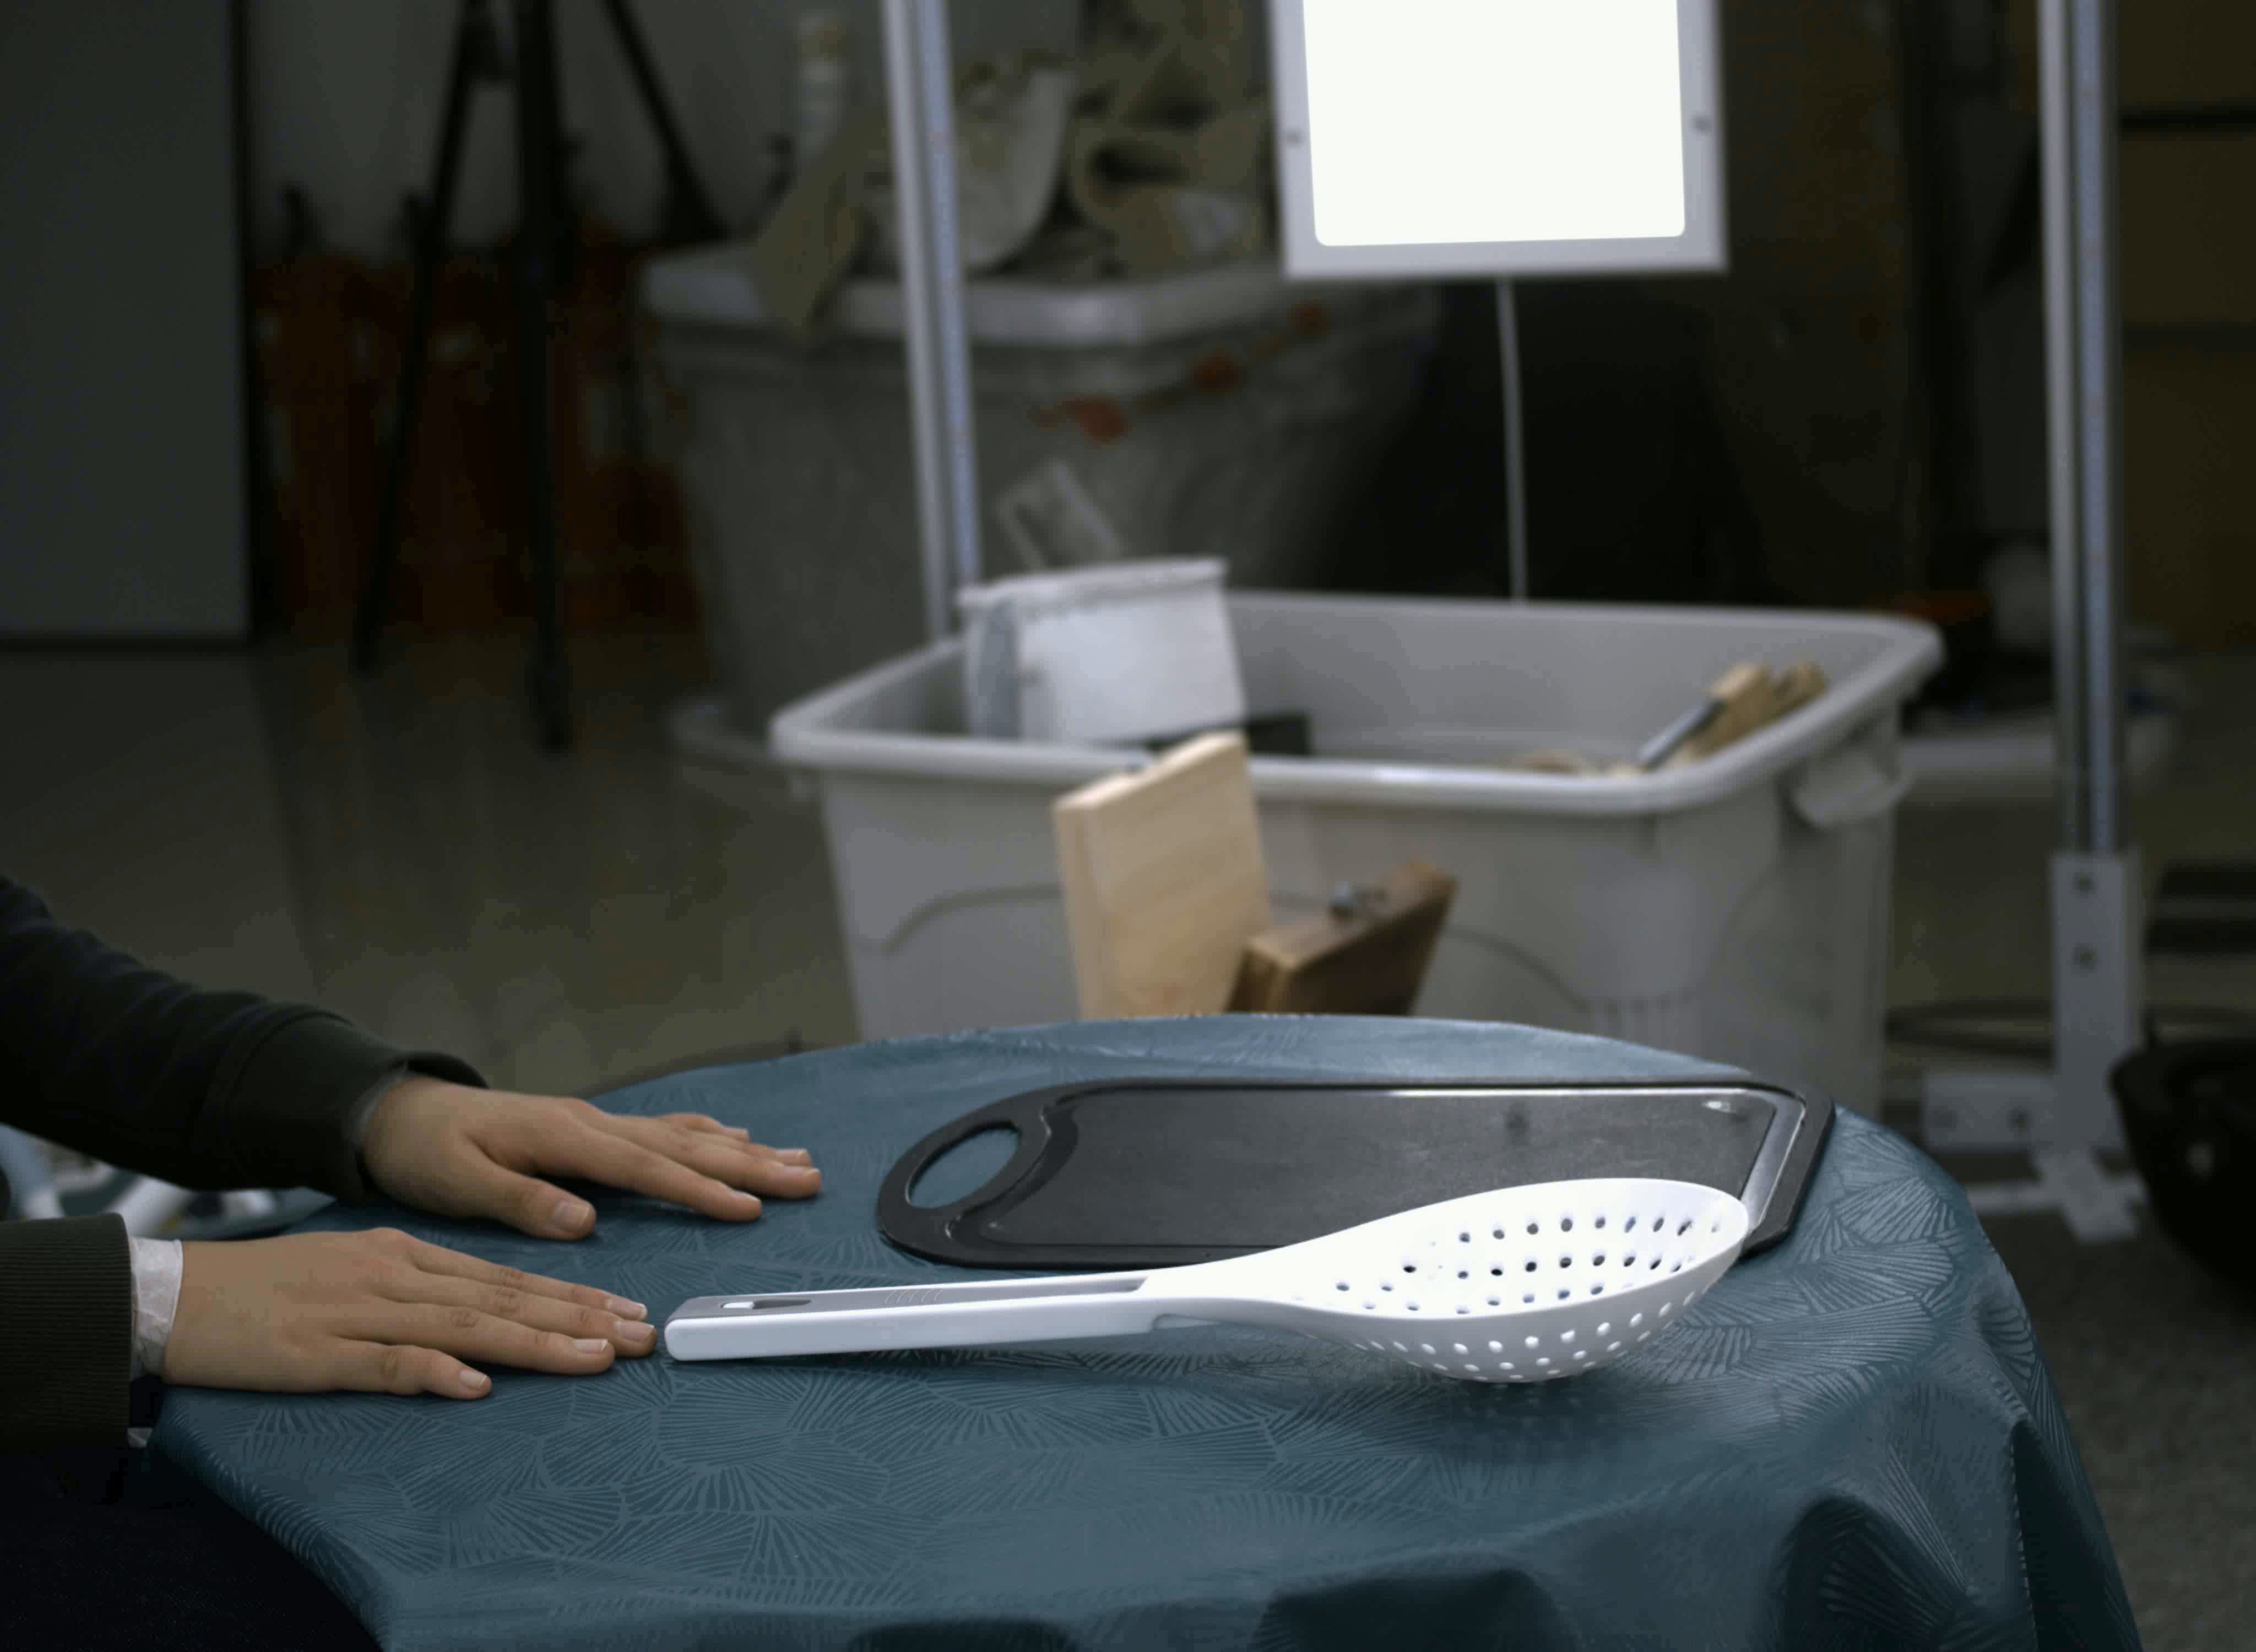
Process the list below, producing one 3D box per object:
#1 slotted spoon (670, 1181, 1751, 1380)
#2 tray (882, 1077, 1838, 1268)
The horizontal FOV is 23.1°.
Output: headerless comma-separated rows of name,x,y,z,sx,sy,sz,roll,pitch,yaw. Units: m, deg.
slotted spoon,0.022,0.146,1.716,0.354,0.046,0.134,-1,12,18
tray,0.077,0.117,1.896,0.329,0.010,0.208,-1,14,17
